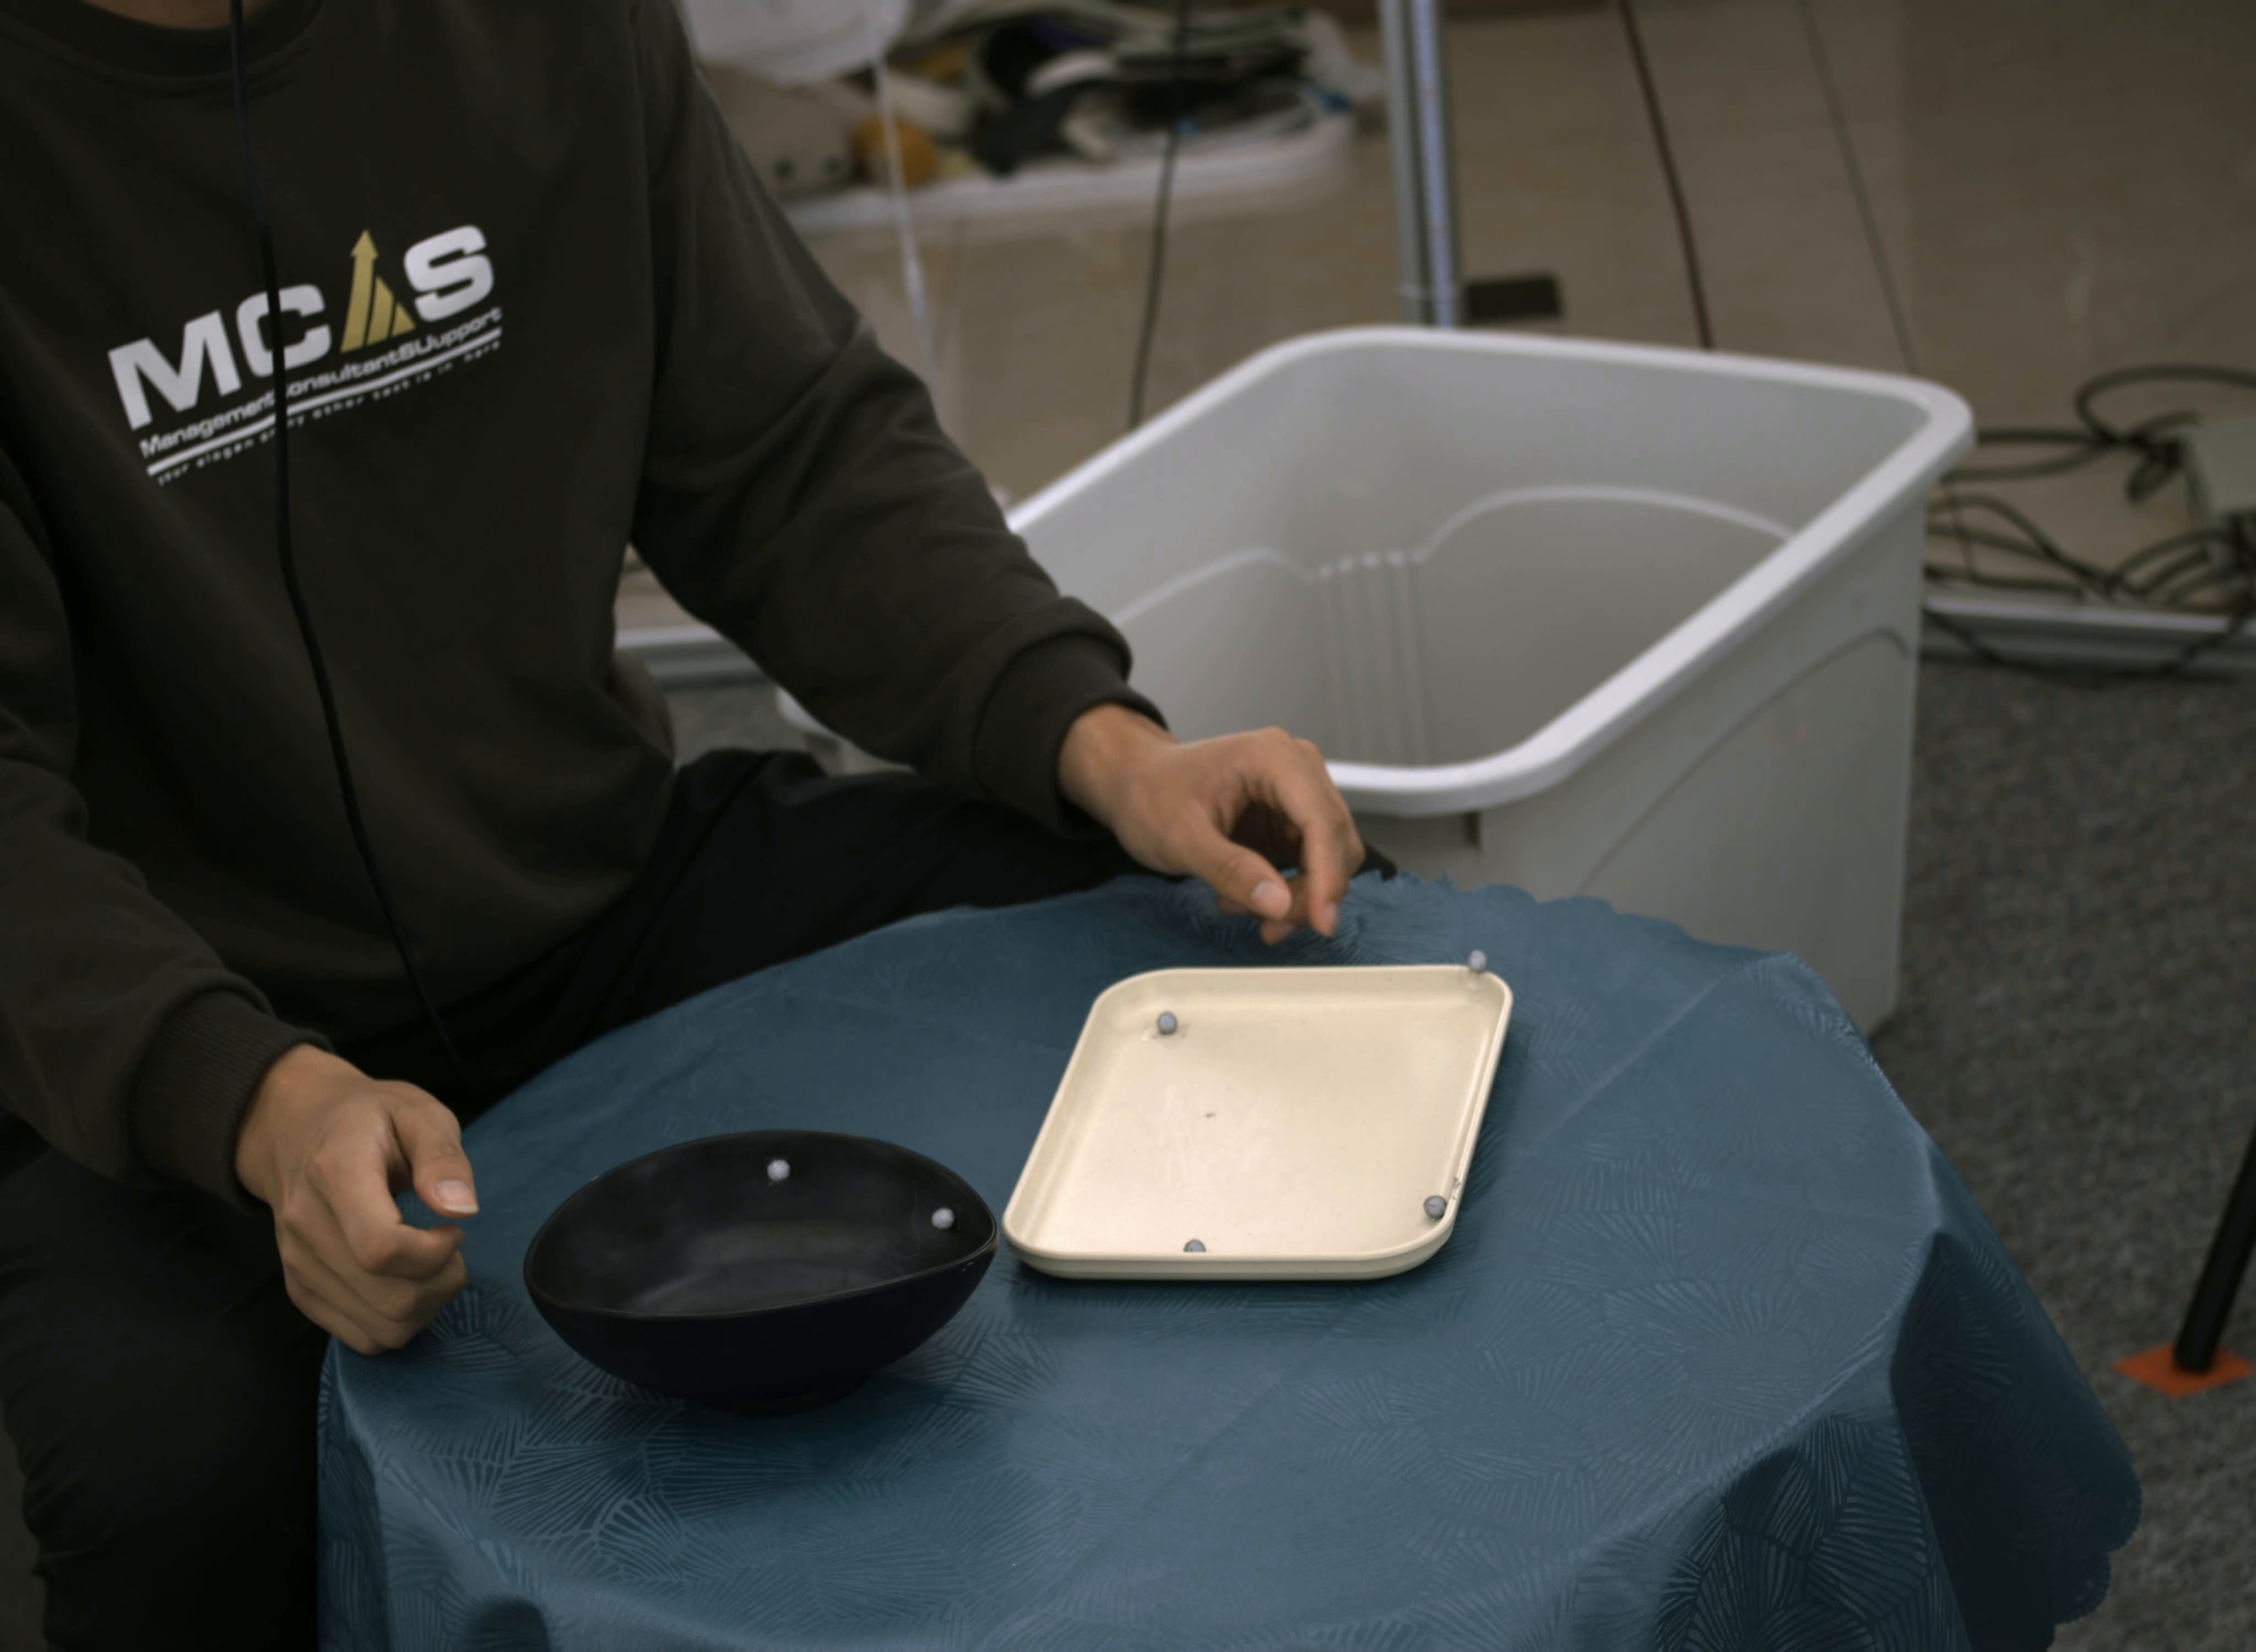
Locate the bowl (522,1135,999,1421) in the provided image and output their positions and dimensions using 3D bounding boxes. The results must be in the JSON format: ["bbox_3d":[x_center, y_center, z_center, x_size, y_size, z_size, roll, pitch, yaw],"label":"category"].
[{"bbox_3d":[-0.130,0.169,2.039,0.170,0.068,0.135,-6,26,-3],"label":"bowl"}]

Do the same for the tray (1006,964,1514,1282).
[{"bbox_3d":[0.054,0.113,2.169,0.171,0.018,0.236,-2,25,13],"label":"tray"}]
